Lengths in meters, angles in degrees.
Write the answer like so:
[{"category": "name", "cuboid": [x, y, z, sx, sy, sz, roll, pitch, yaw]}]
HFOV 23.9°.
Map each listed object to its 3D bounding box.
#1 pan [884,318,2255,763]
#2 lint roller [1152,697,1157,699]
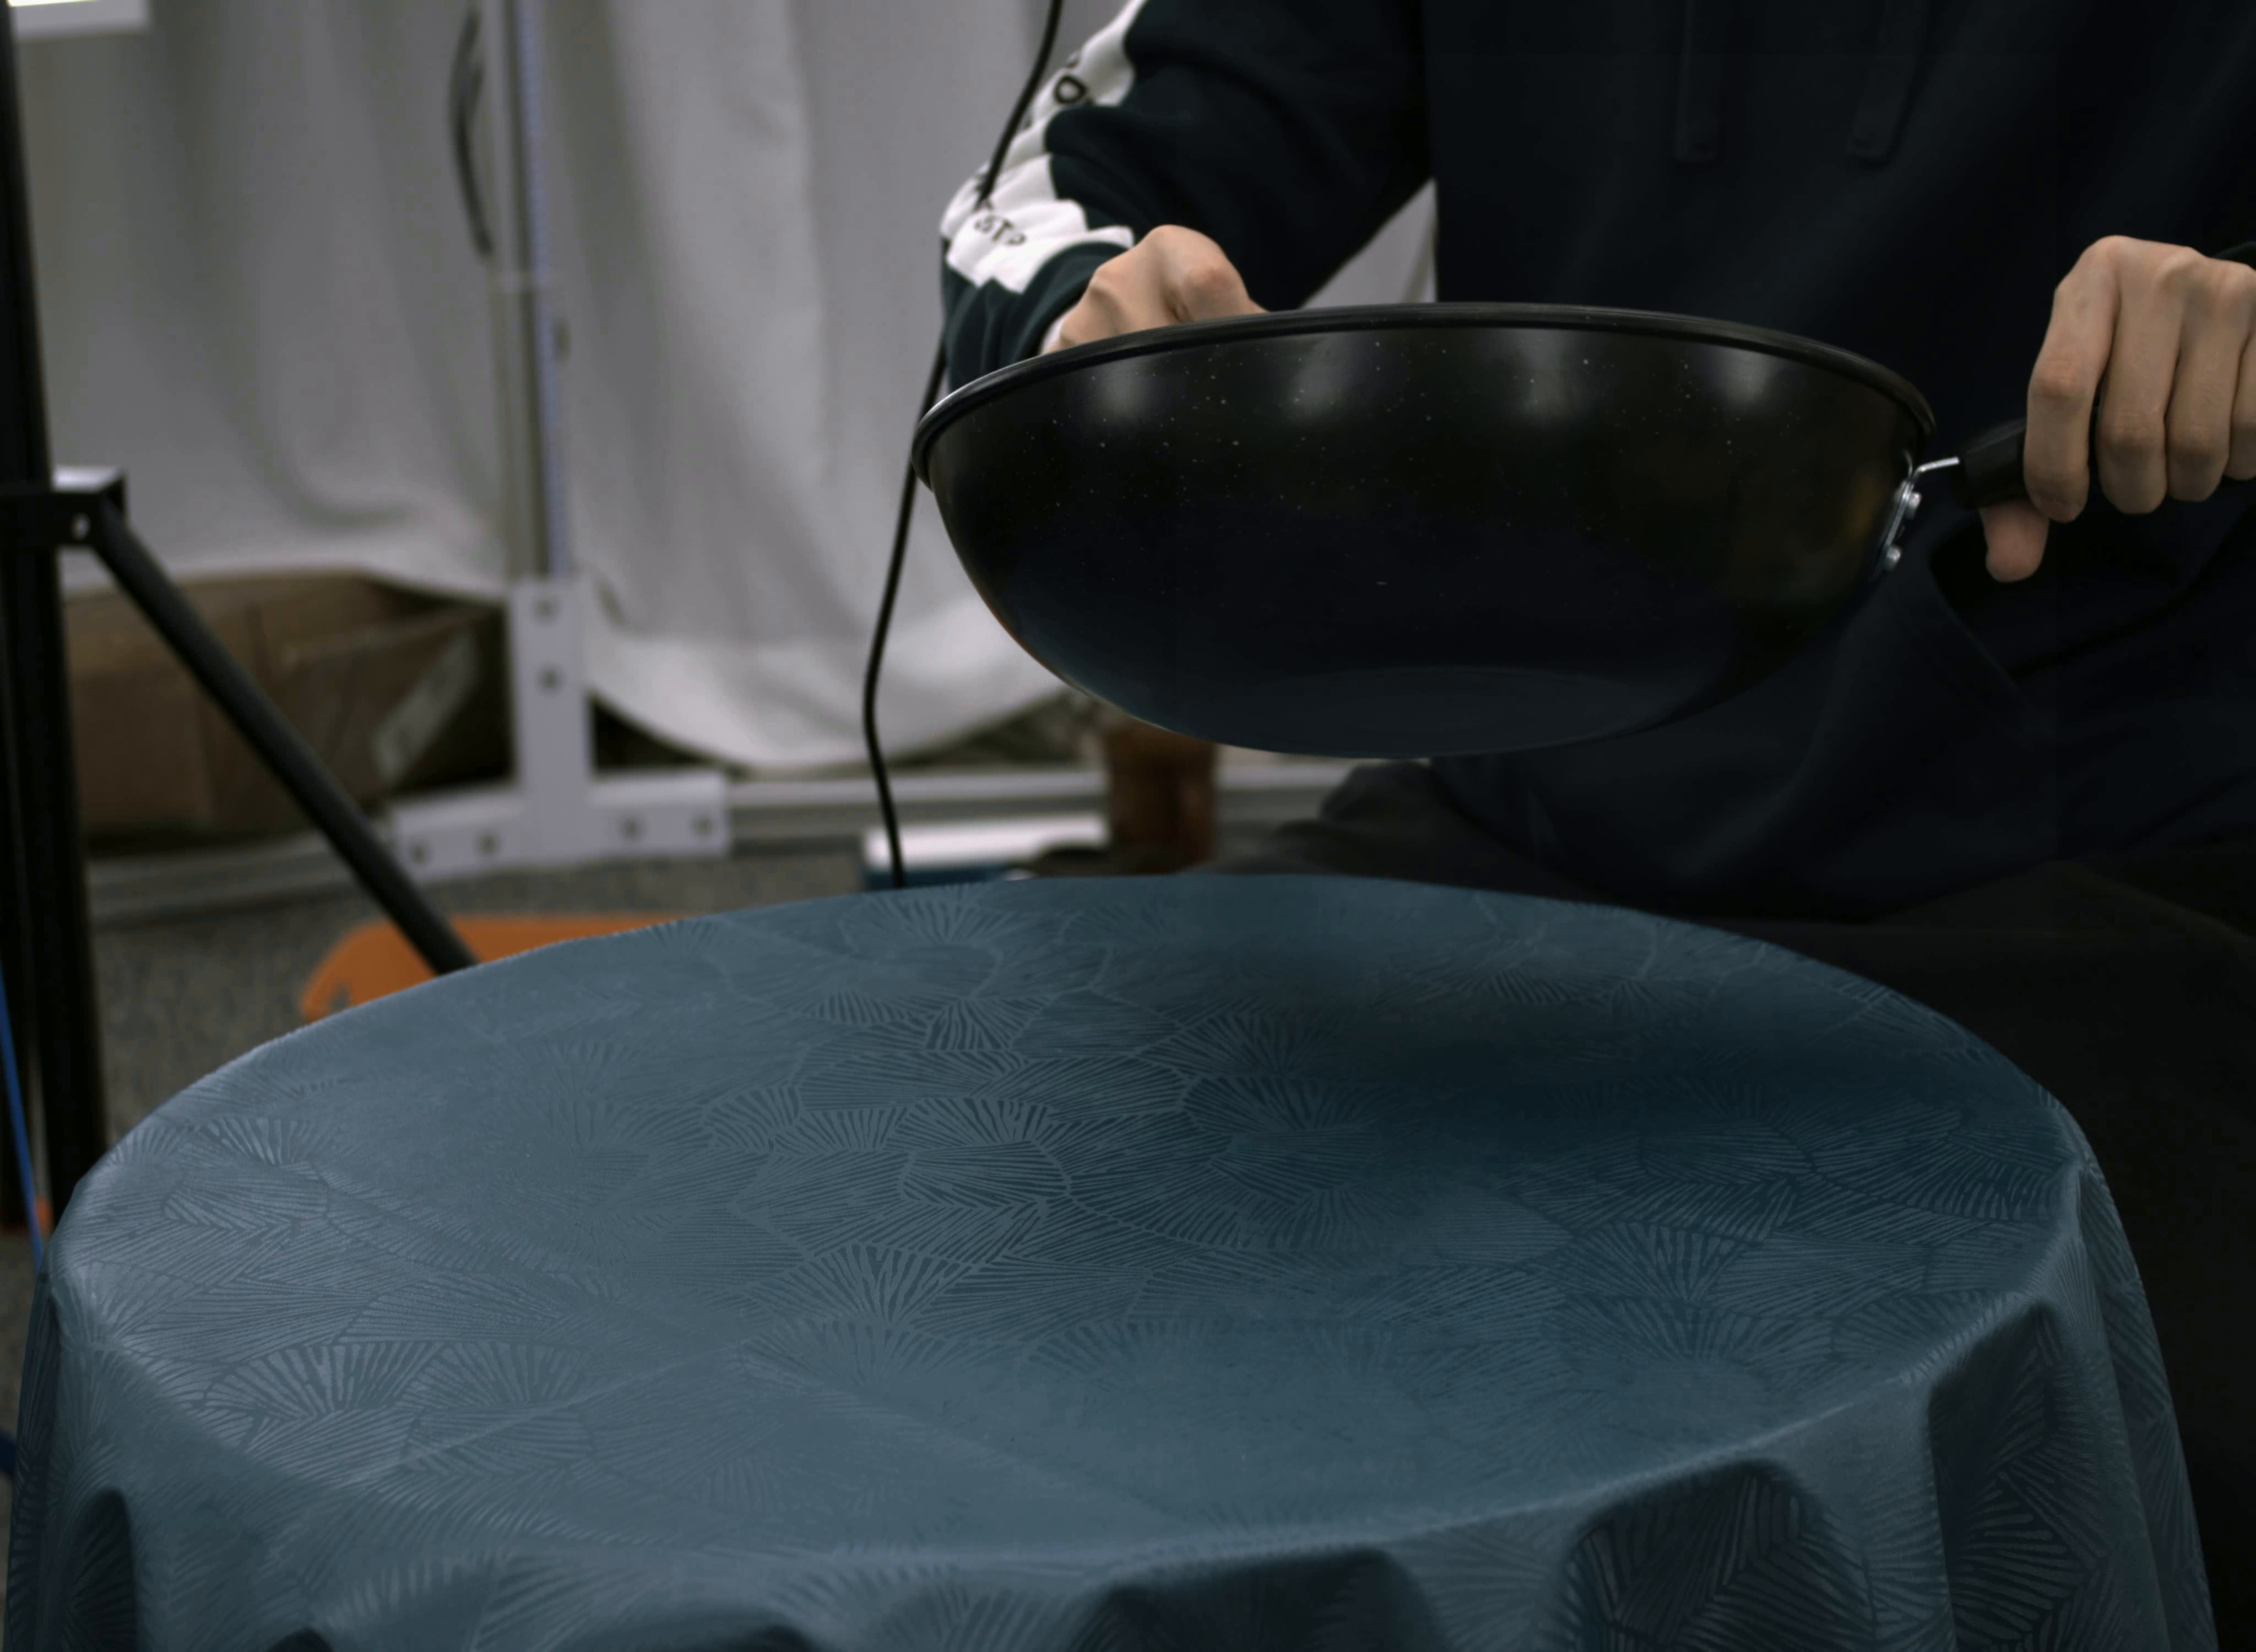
[{"category": "pan", "cuboid": [0.164, -0.086, 1.600, 0.475, 0.112, 0.309, -1, -9, 1]}, {"category": "lint roller", "cuboid": [0.046, -0.104, 1.668, 0.223, 0.068, 0.184, -8, 36, -35]}]
